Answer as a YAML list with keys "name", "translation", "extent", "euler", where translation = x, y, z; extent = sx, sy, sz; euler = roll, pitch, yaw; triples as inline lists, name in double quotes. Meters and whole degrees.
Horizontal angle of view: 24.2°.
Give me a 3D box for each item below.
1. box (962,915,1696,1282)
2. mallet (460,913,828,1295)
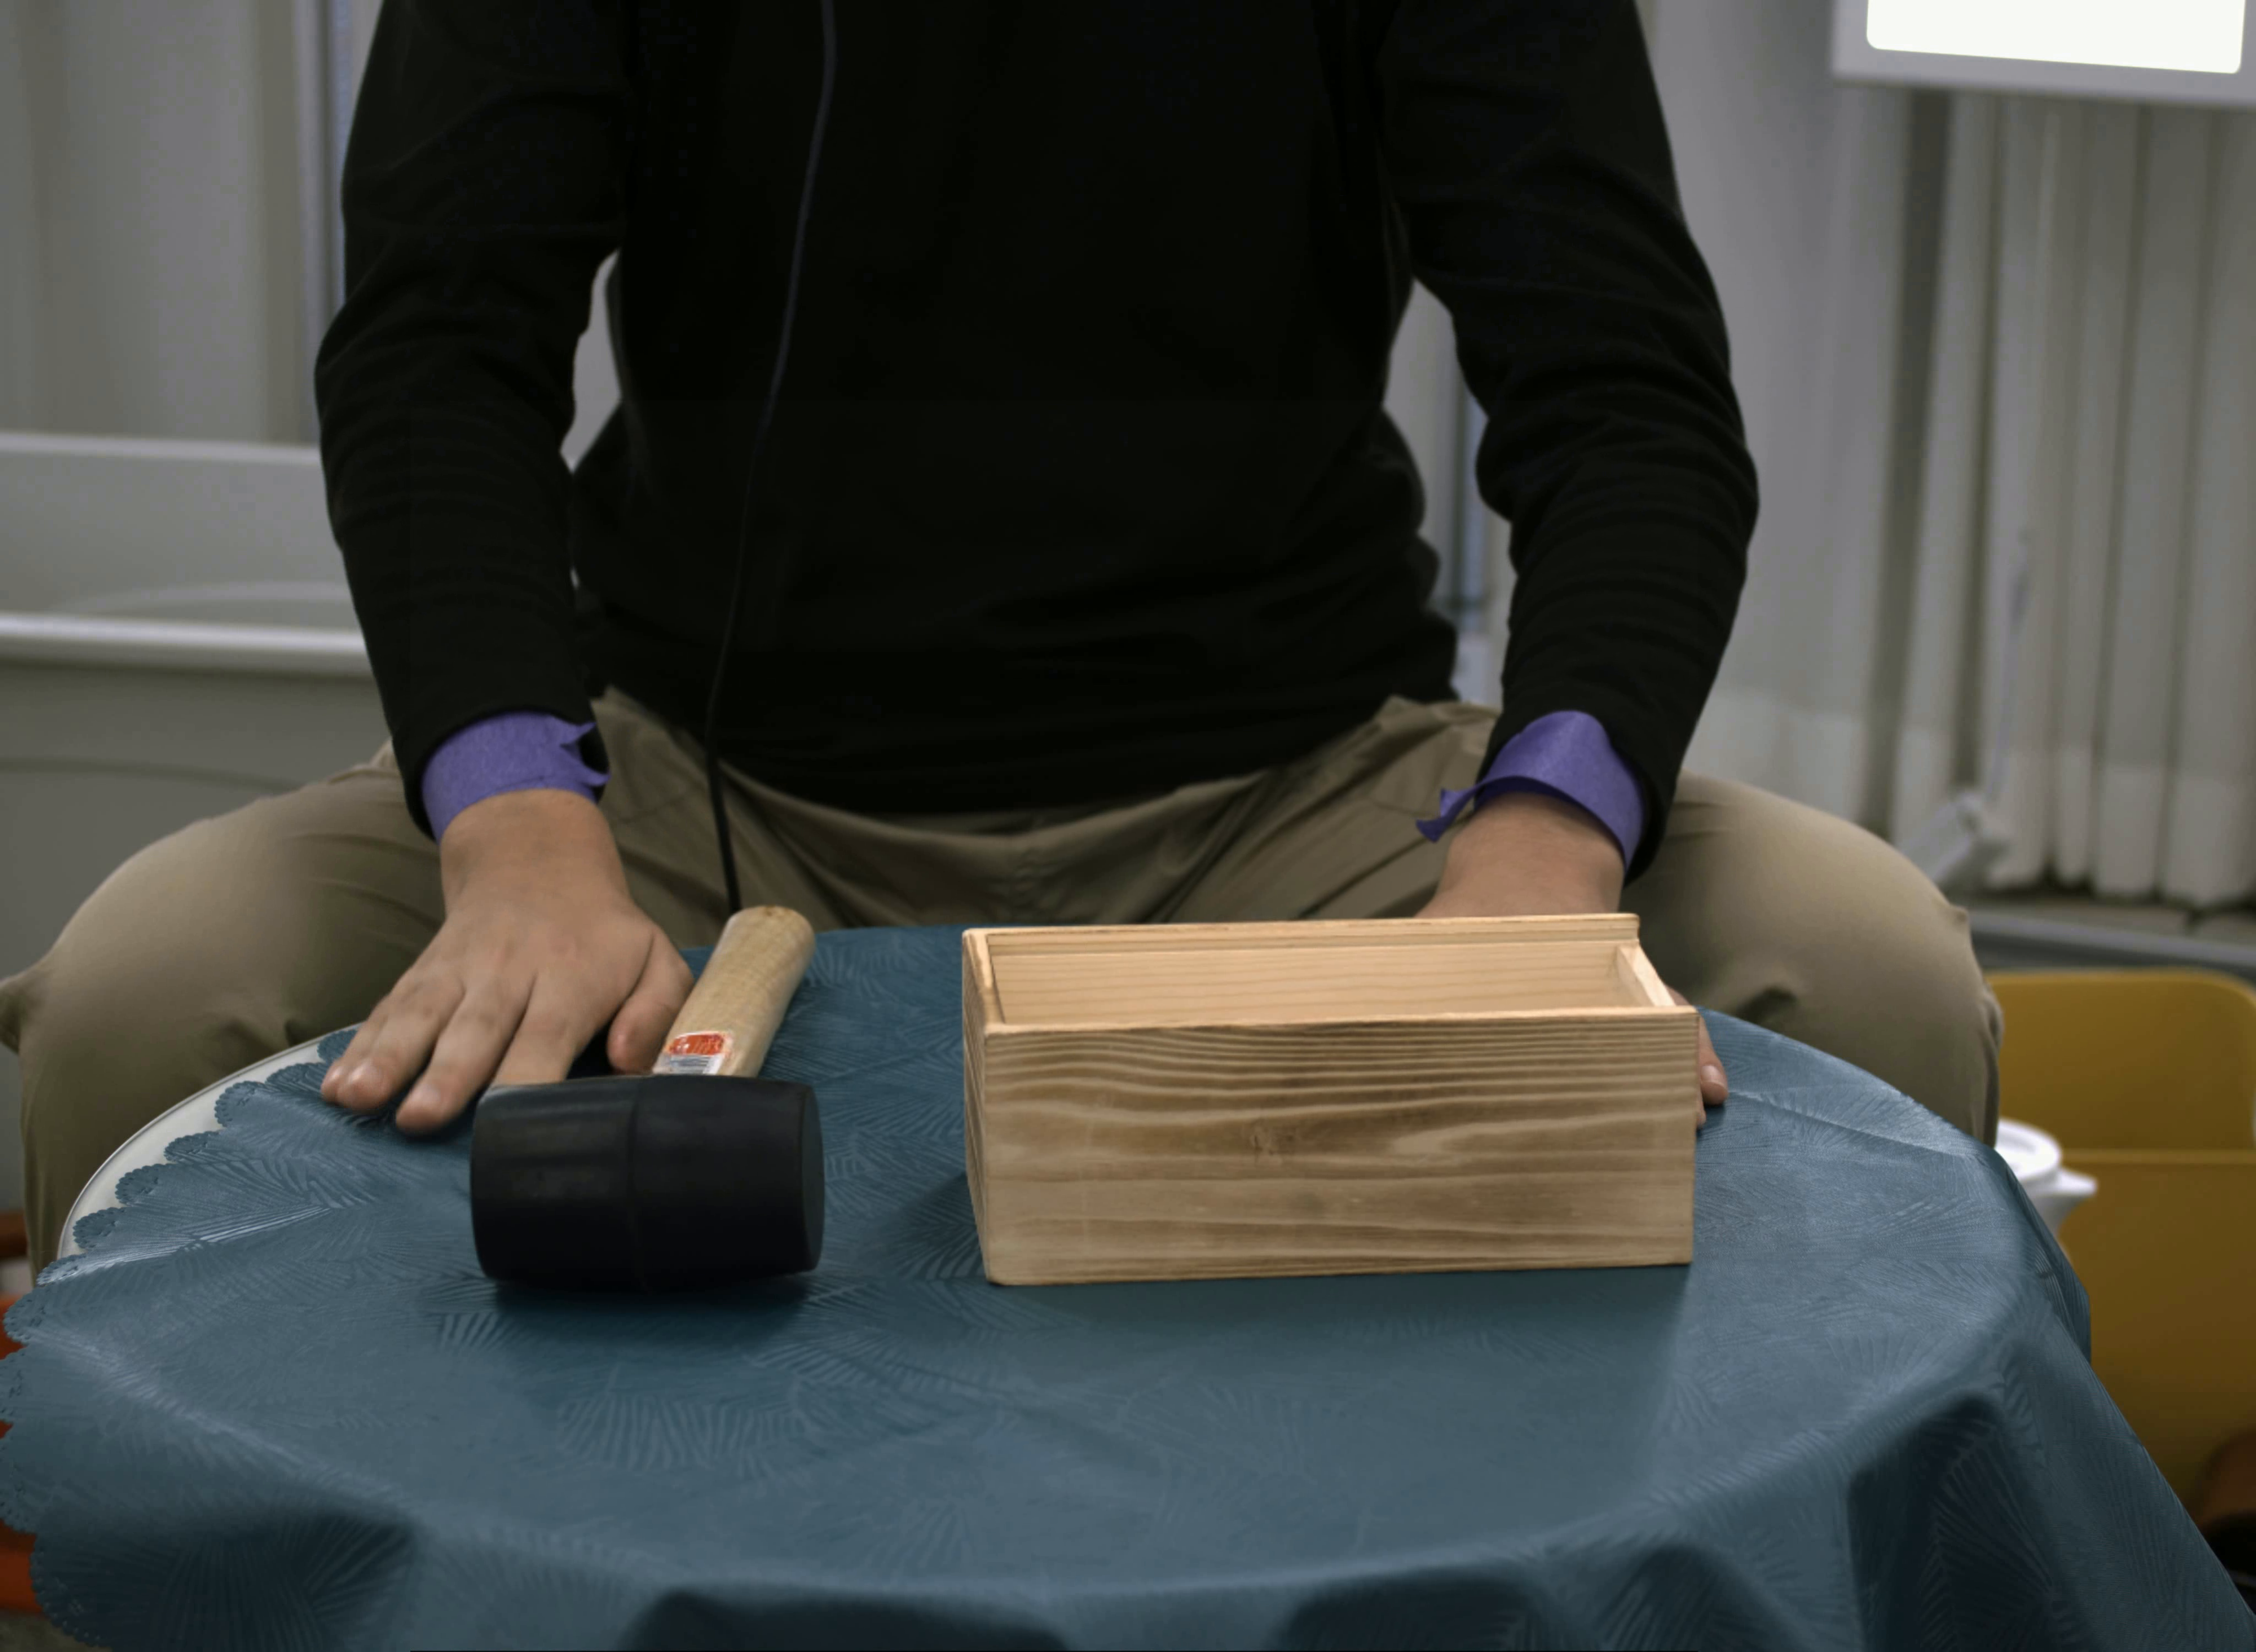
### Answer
- name: "box"
  translation: [0.058, 0.080, 1.589]
  extent: [0.211, 0.081, 0.107]
  euler: [-1, 15, -6]
- name: "mallet"
  translation: [-0.132, 0.069, 1.663]
  extent: [0.101, 0.065, 0.337]
  euler: [2, 15, 3]
